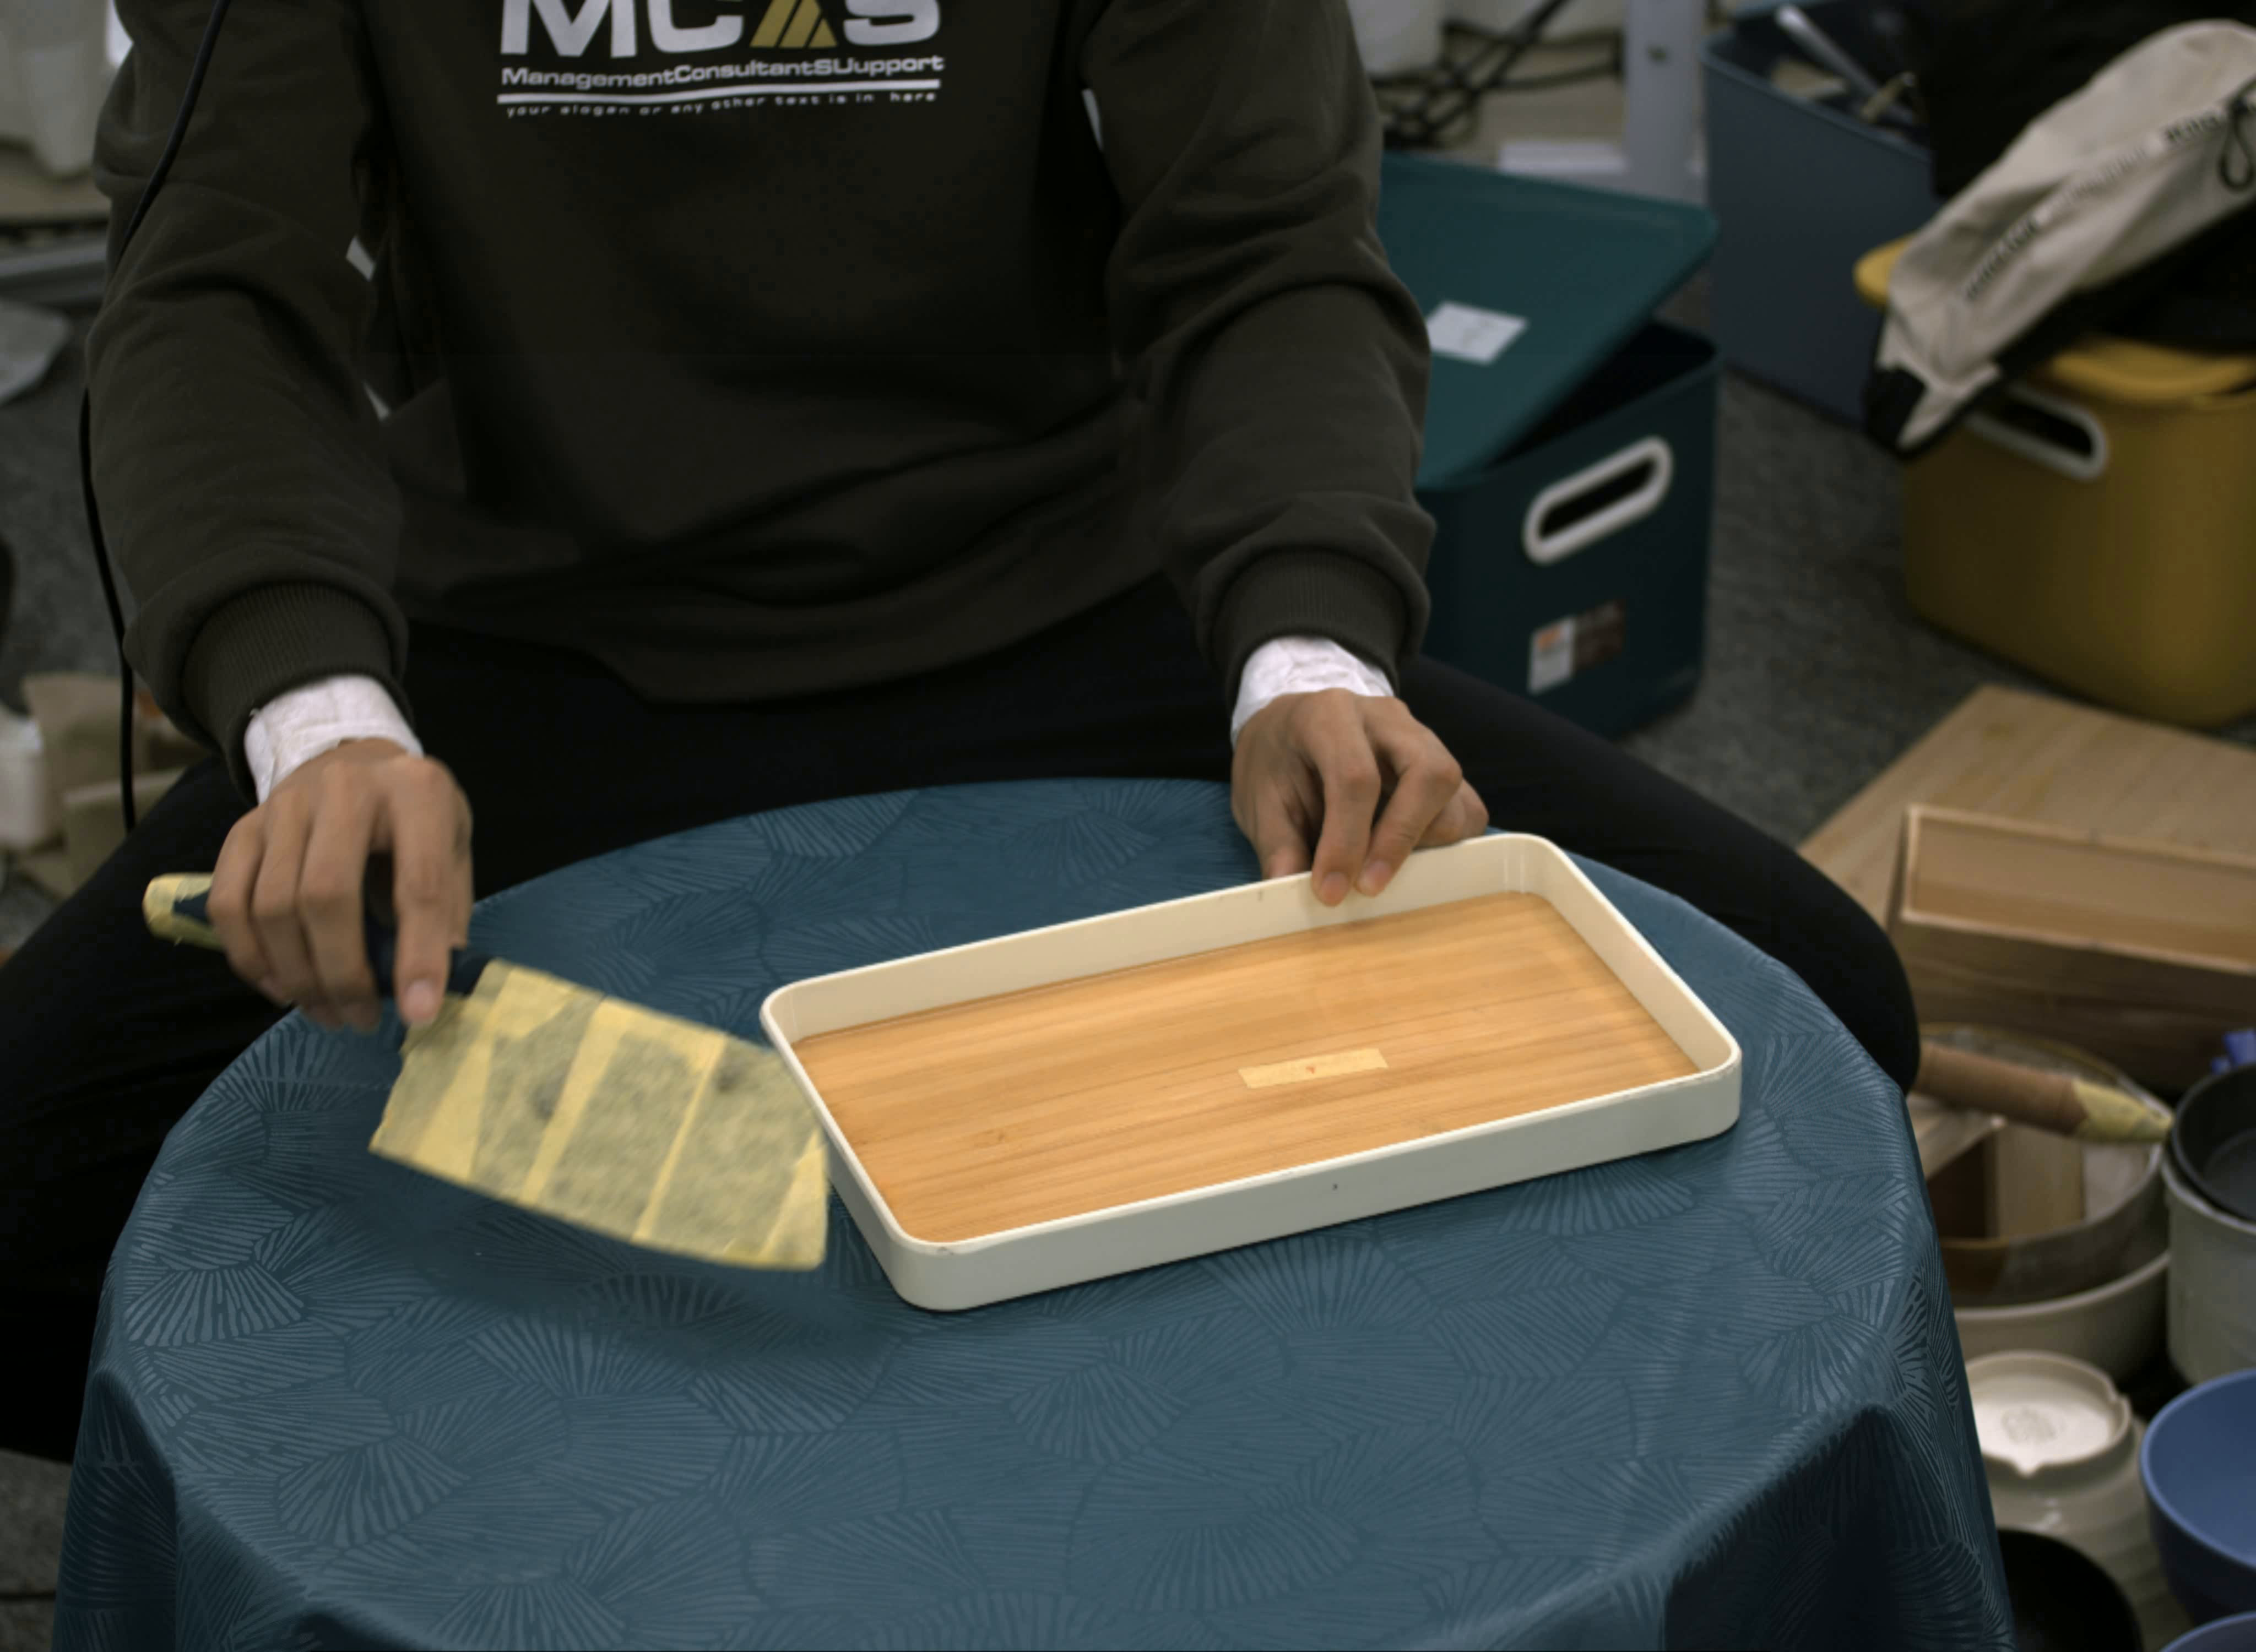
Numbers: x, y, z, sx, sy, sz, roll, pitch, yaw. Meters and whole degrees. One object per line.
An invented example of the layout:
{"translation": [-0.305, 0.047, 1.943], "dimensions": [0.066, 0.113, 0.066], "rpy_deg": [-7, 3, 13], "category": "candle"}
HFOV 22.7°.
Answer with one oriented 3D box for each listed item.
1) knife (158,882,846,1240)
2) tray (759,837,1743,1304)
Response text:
{"translation": [-0.208, 0.074, 1.825], "dimensions": [0.288, 0.027, 0.082], "rpy_deg": [18, 73, 29], "category": "knife"}
{"translation": [0.039, 0.079, 1.911], "dimensions": [0.301, 0.027, 0.193], "rpy_deg": [-11, 27, -16], "category": "tray"}
